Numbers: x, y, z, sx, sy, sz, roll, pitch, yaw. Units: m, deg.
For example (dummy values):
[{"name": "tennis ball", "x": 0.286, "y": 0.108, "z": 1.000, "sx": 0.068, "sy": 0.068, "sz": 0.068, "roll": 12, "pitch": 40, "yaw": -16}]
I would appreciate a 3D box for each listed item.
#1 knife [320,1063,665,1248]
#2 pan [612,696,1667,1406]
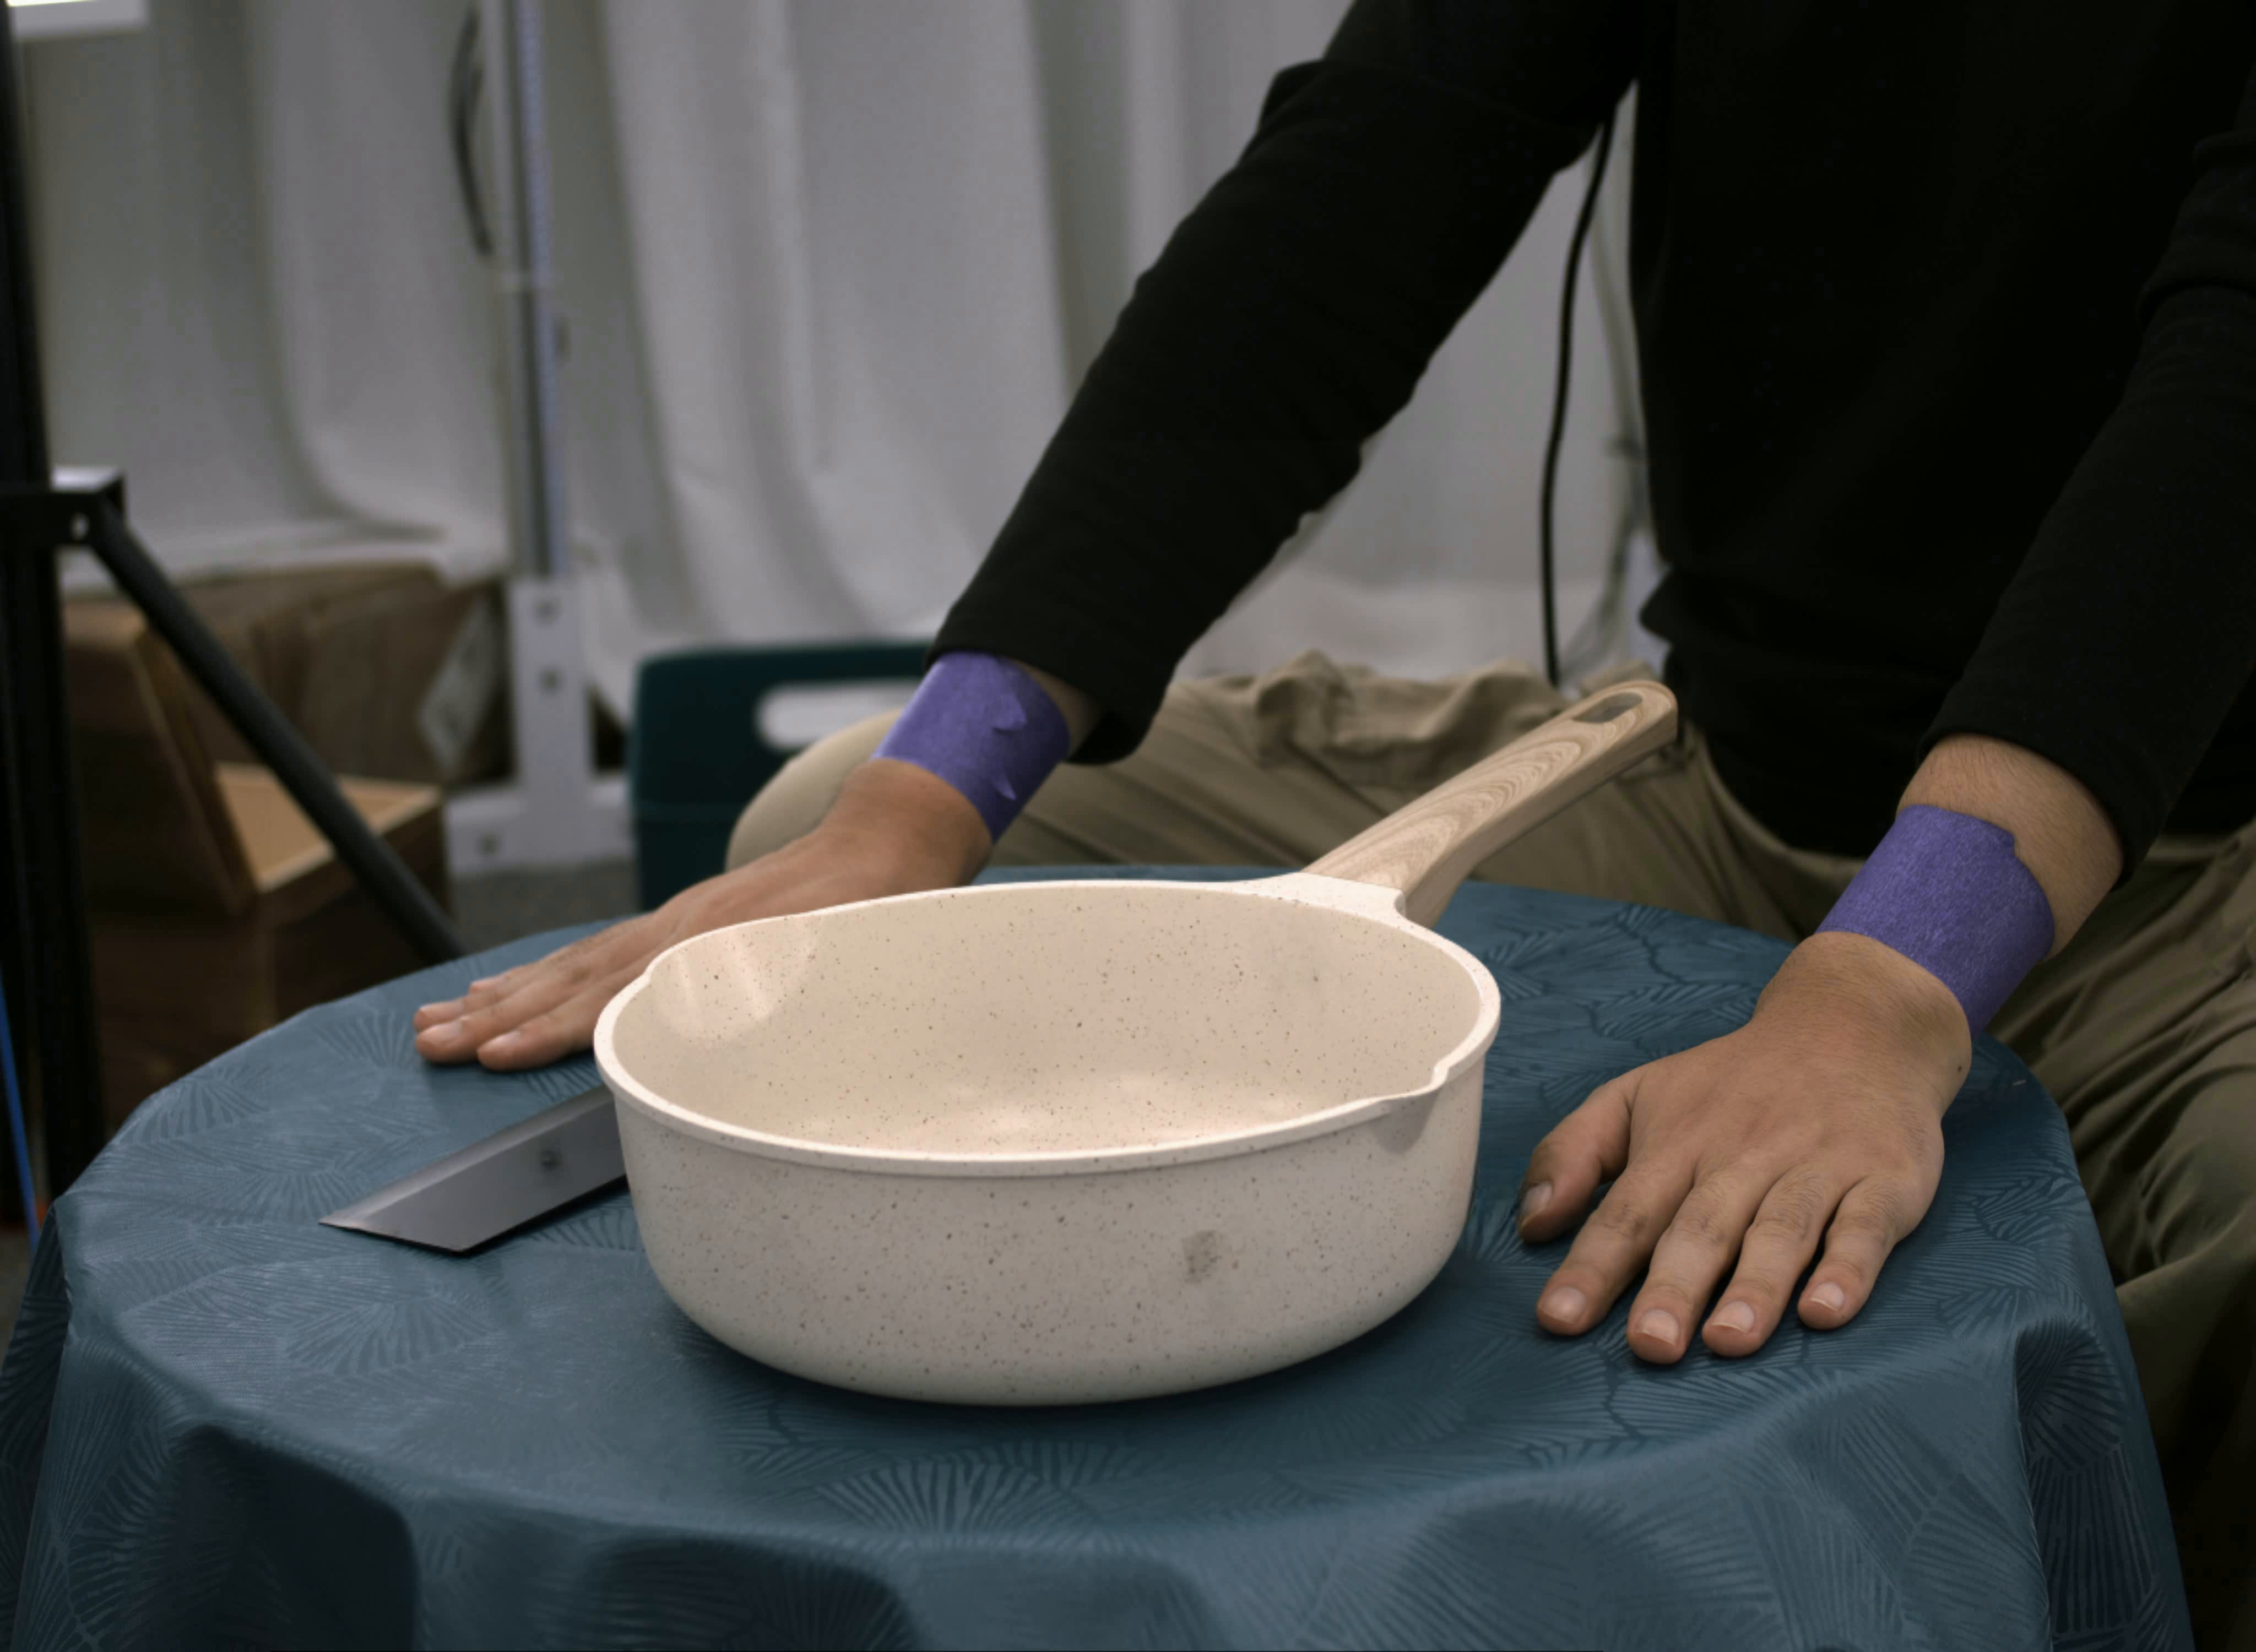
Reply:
[{"name": "knife", "x": -0.122, "y": 0.080, "z": 1.652, "sx": 0.083, "sy": 0.021, "sz": 0.296, "roll": 11, "pitch": 22, "yaw": 43}, {"name": "pan", "x": 0.039, "y": 0.060, "z": 1.537, "sx": 0.269, "sy": 0.102, "sz": 0.426, "roll": 8, "pitch": 19, "yaw": 37}]
